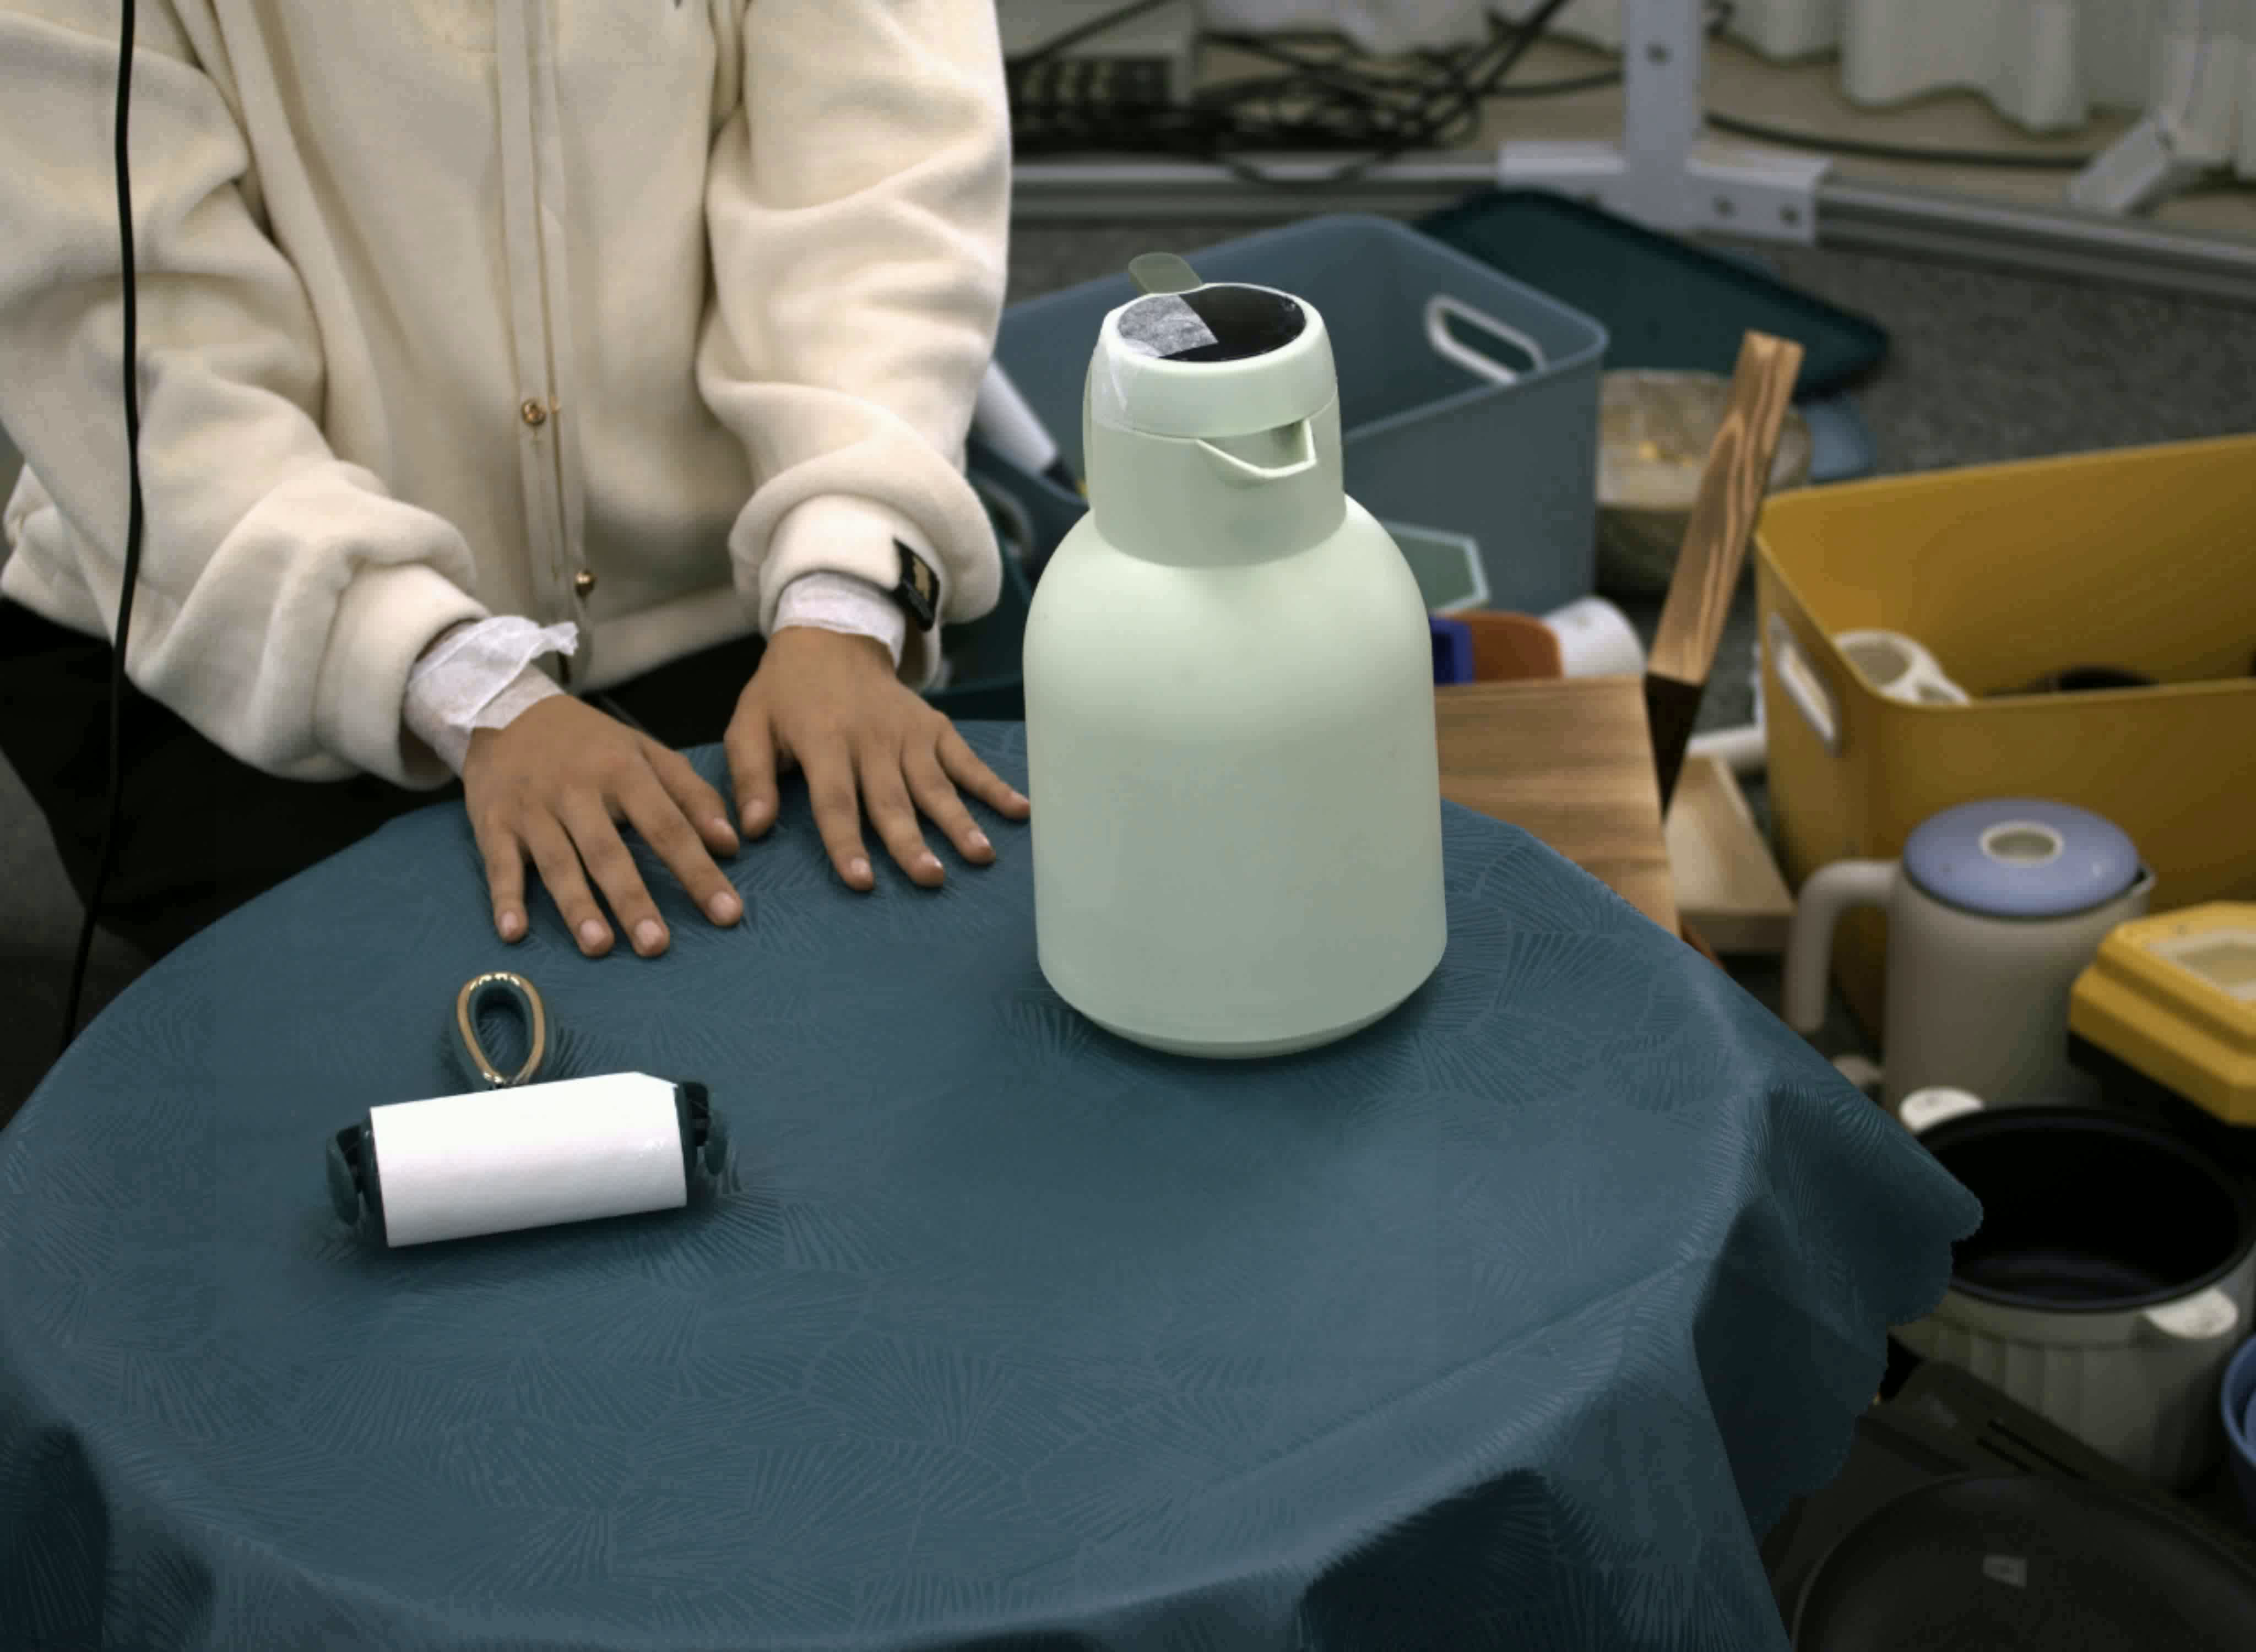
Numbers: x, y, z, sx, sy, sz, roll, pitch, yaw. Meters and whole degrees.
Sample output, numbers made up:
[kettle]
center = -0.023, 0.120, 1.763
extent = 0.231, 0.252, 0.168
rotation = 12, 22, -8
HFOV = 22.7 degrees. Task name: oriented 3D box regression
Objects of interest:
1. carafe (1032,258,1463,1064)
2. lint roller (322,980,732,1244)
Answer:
[carafe]
center = 0.032, -0.063, 1.947
extent = 0.144, 0.254, 0.188
rotation = -13, 24, -14
[lint roller]
center = -0.210, 0.079, 1.912
extent = 0.134, 0.048, 0.182
rotation = -6, 28, -9
